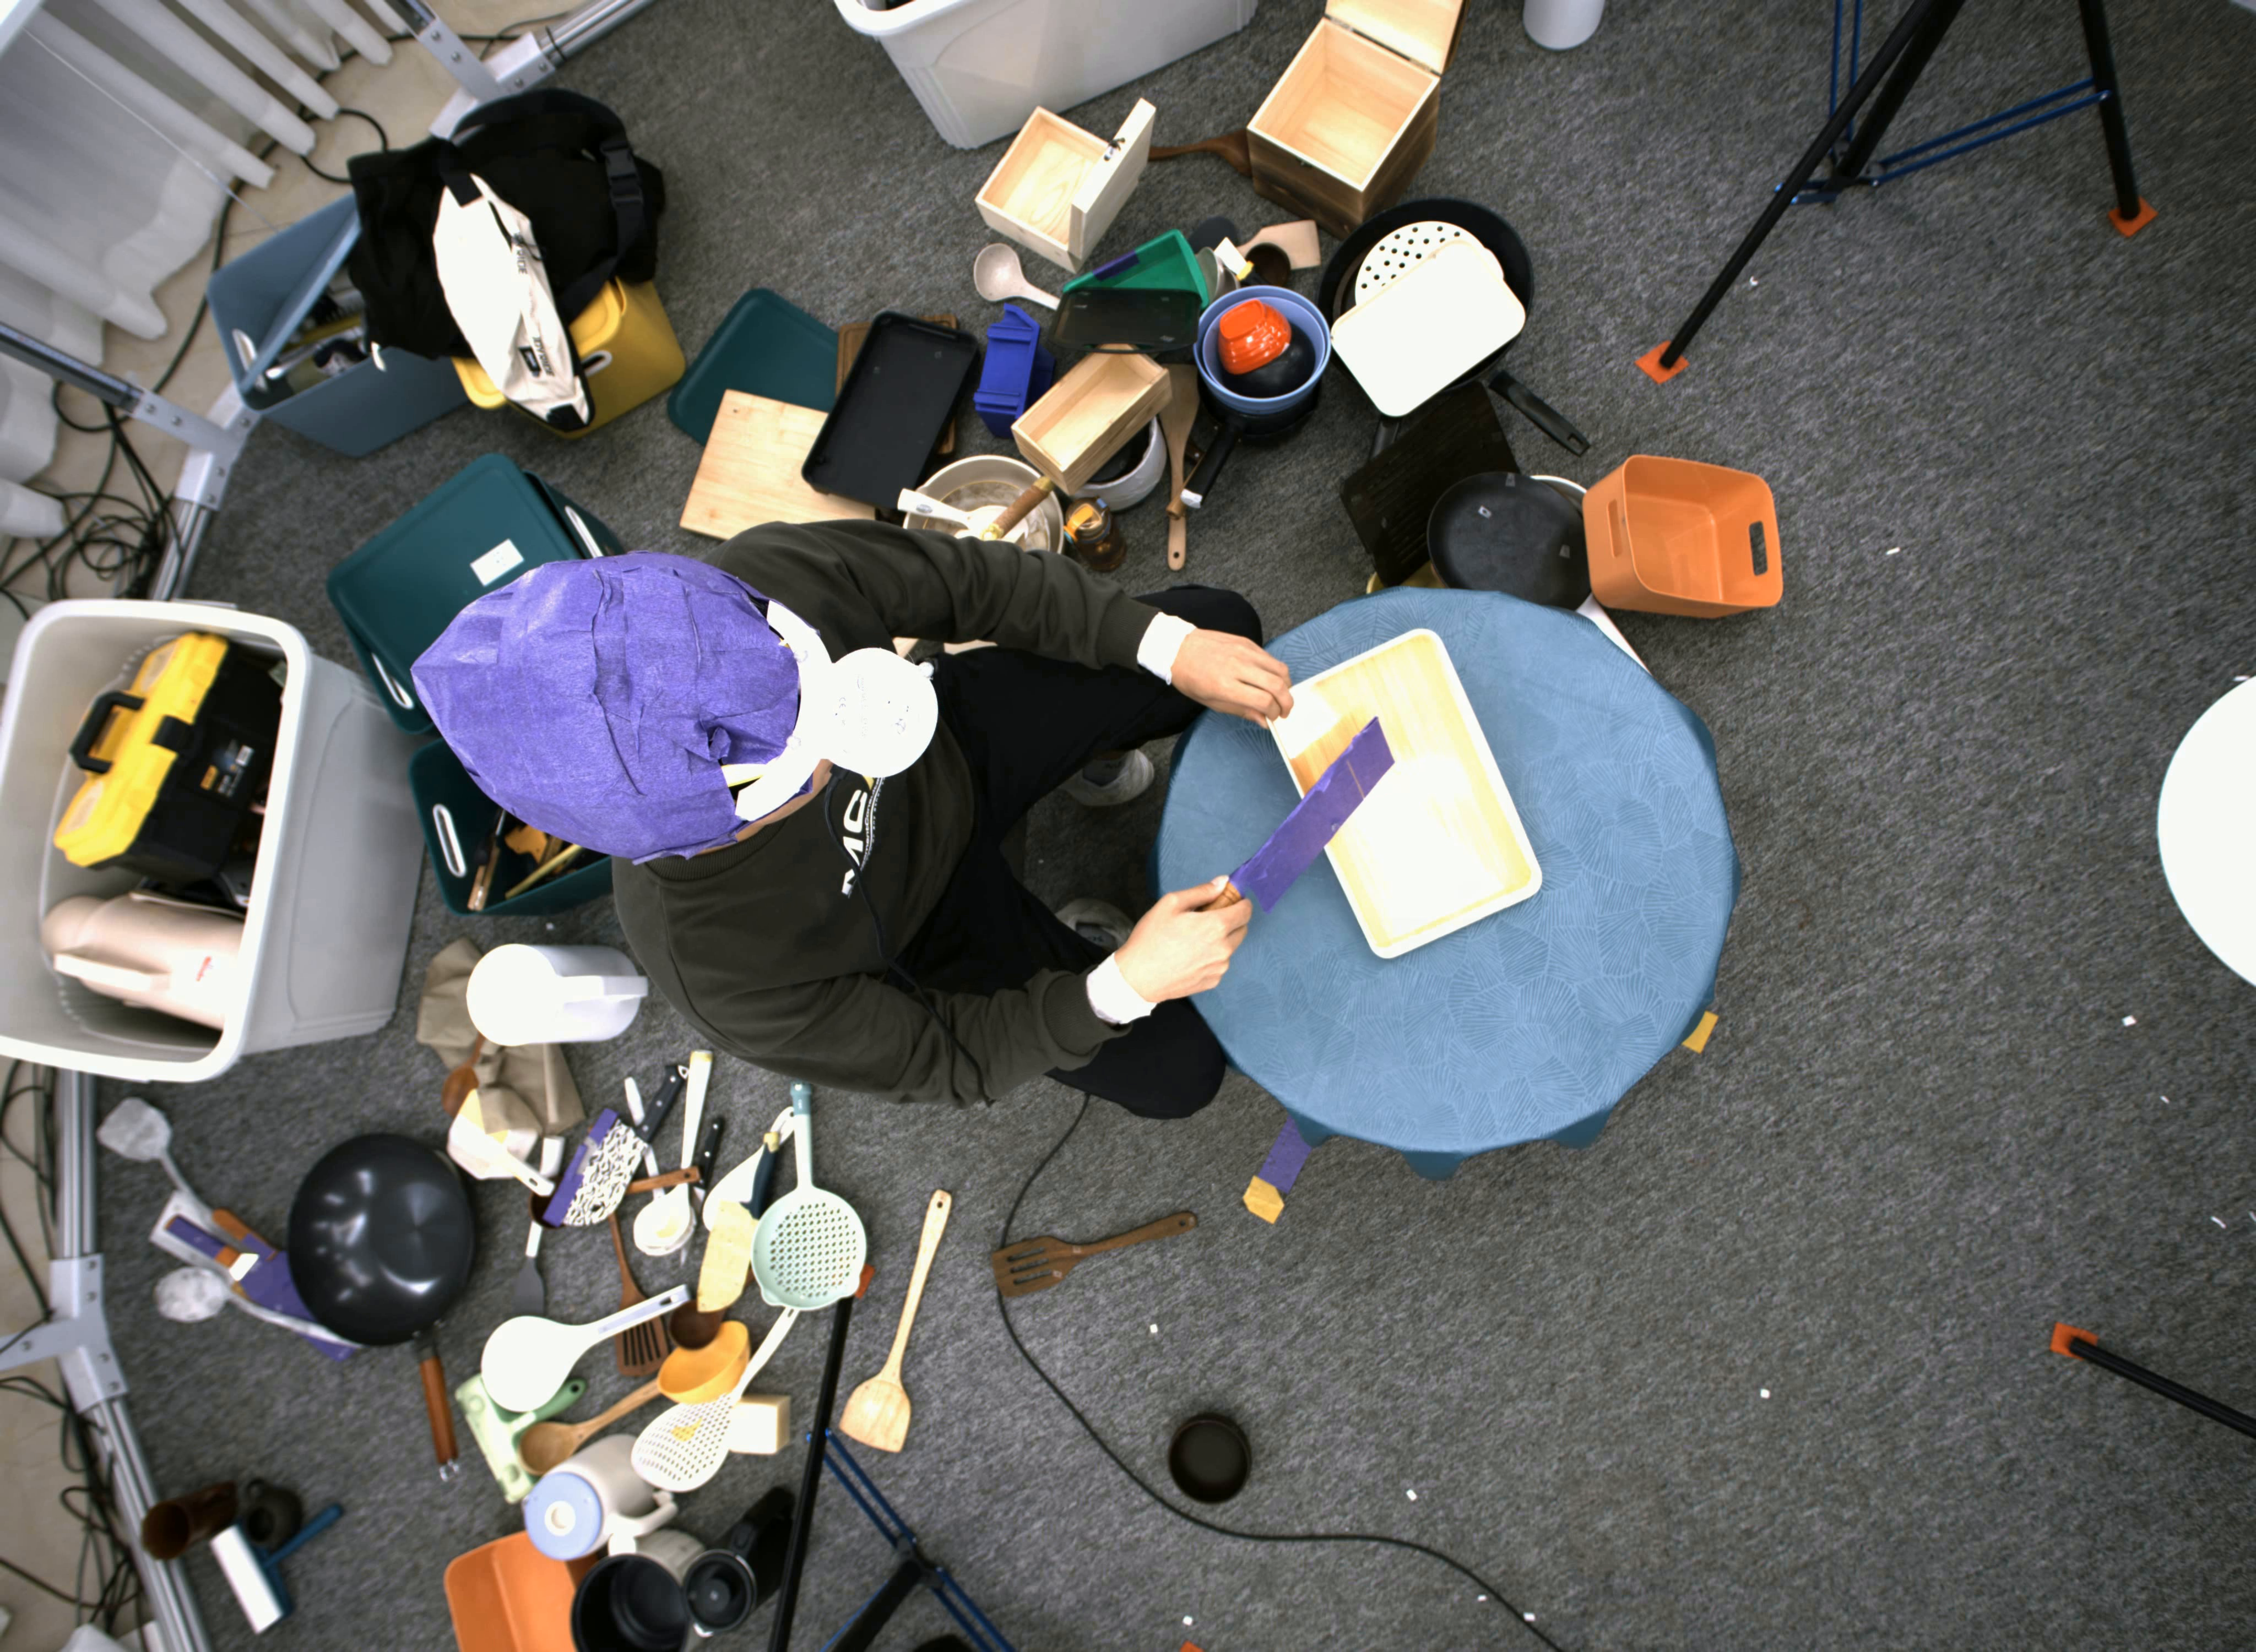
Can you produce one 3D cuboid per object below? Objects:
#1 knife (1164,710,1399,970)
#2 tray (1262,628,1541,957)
[{"bbox_3d":[0.158,0.027,1.334,0.314,0.105,0.032,-47,53,-6],"label":"knife"},{"bbox_3d":[0.279,-0.032,1.401,0.193,0.027,0.302,-25,103,9],"label":"tray"}]
